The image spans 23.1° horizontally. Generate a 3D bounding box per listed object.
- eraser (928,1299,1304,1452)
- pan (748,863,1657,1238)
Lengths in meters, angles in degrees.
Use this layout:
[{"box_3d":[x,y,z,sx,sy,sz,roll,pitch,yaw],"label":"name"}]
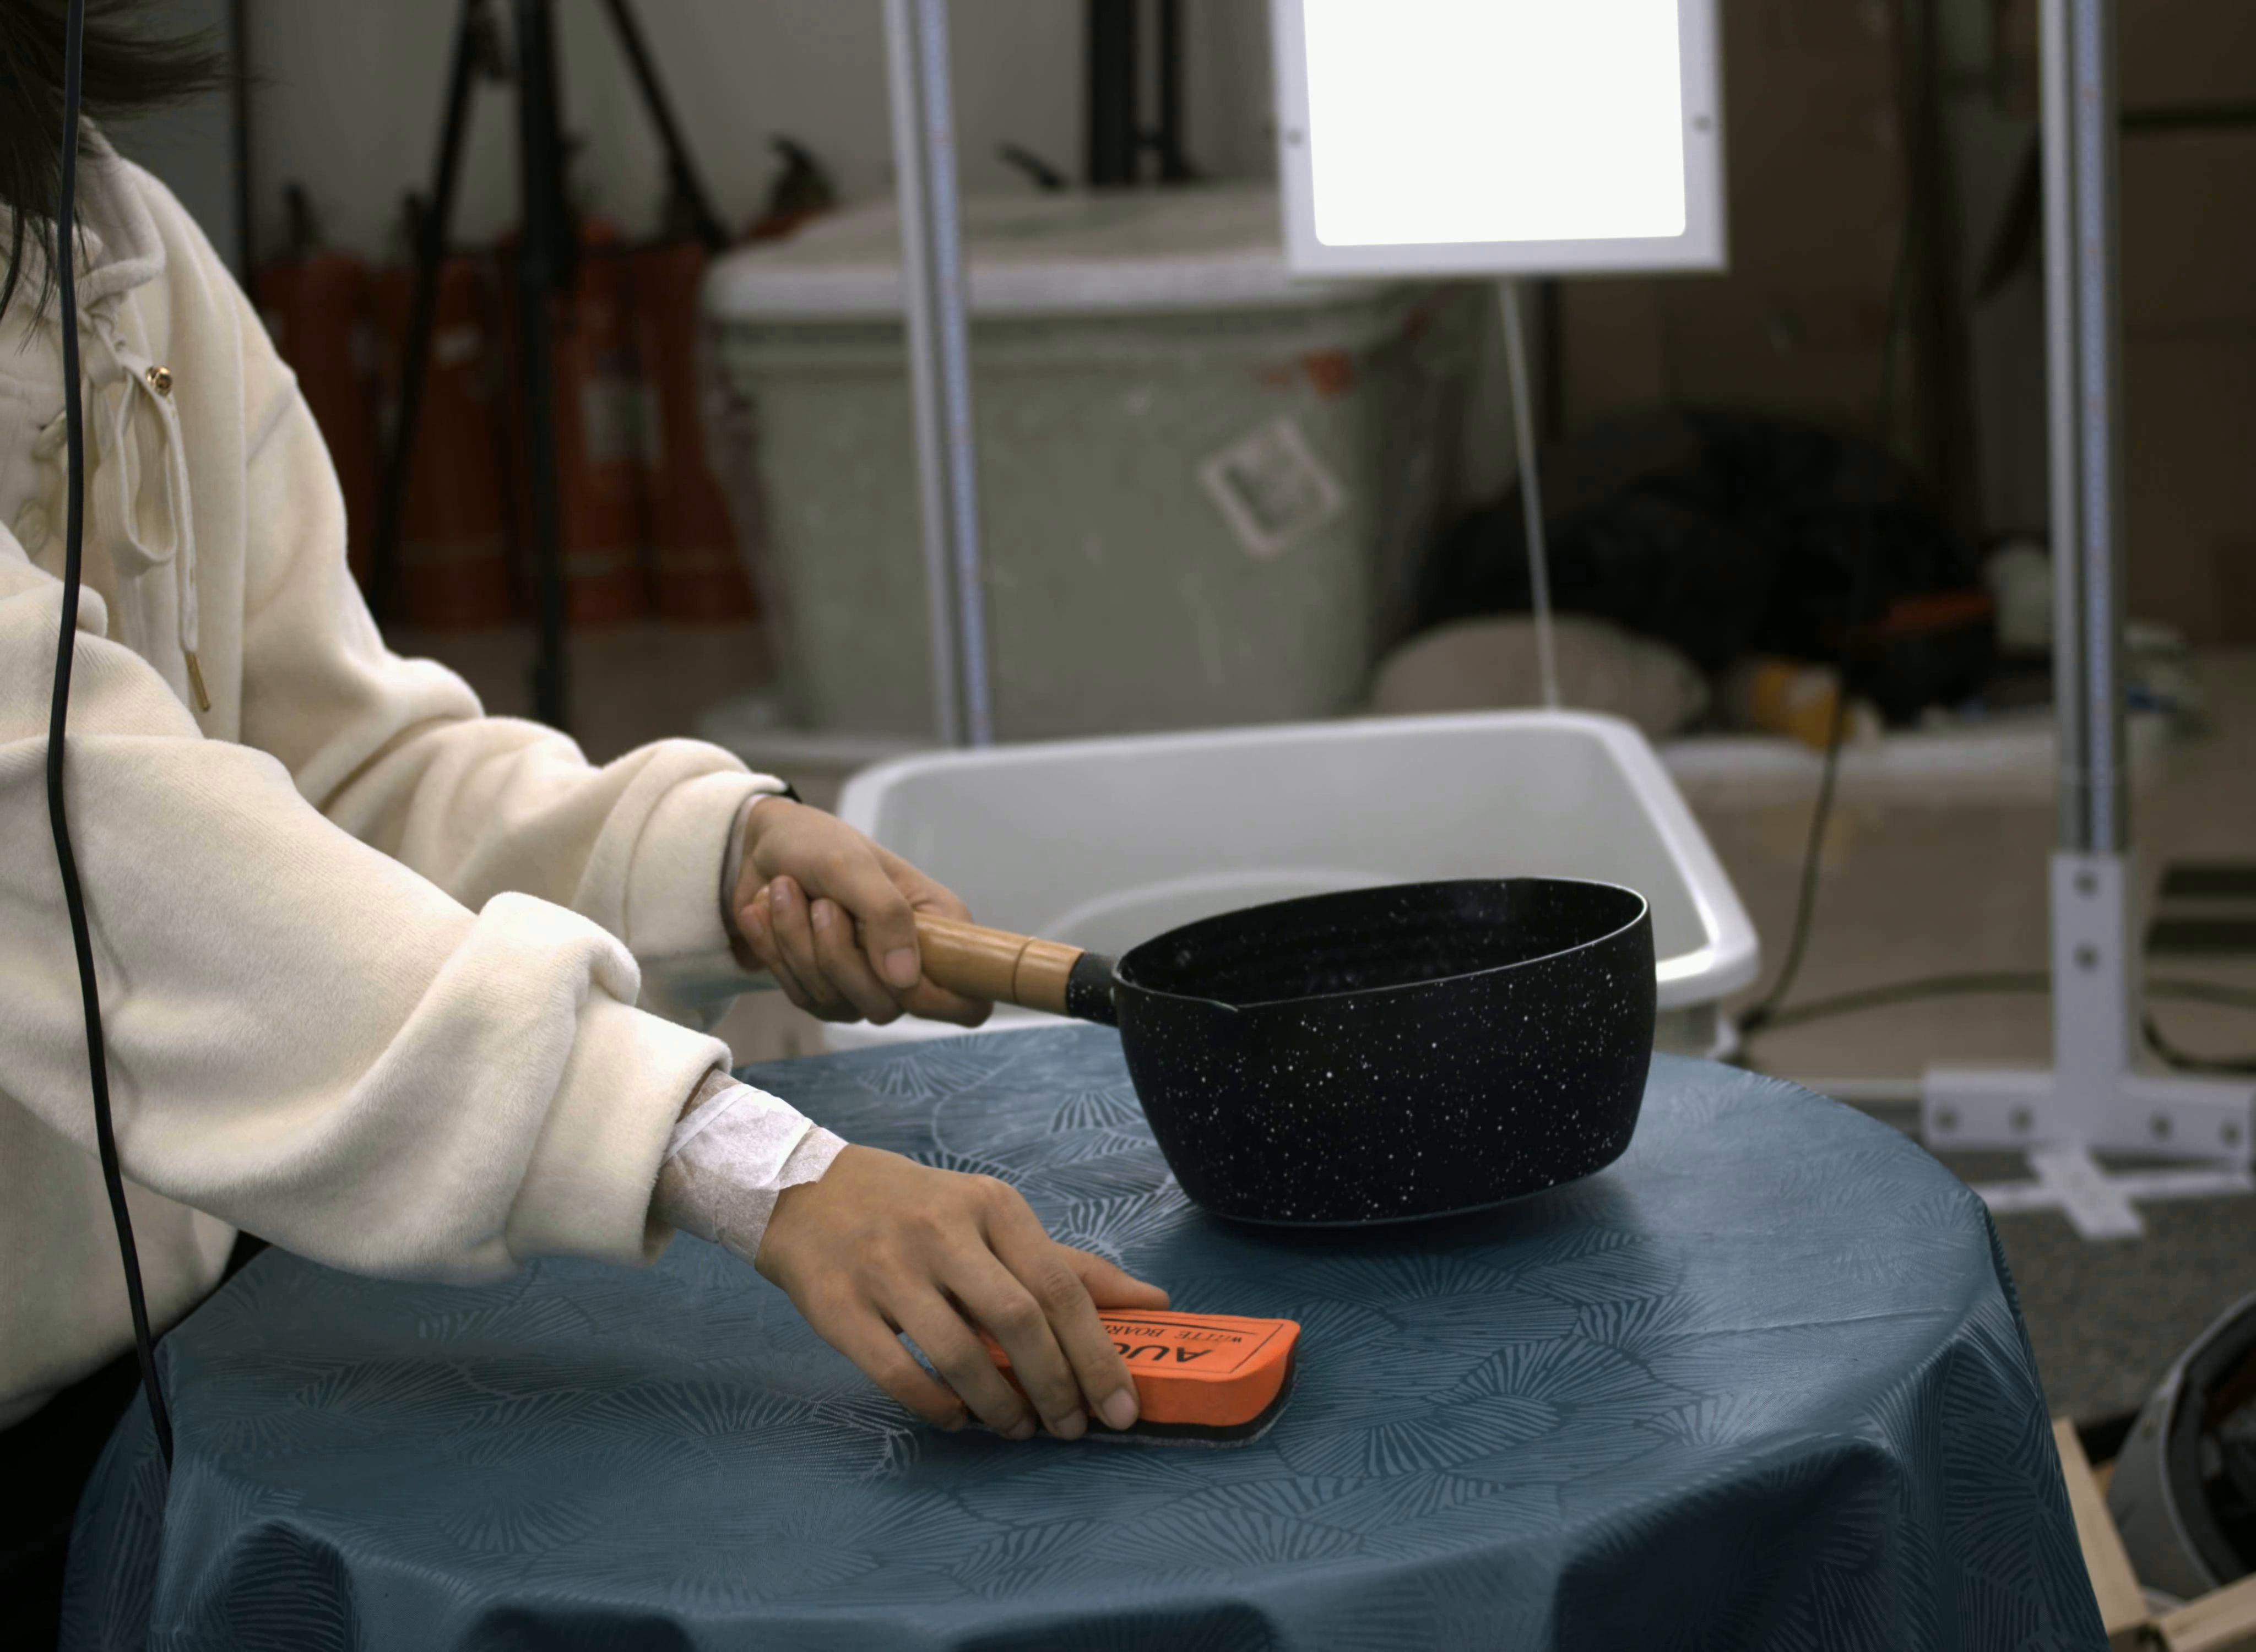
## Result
[{"box_3d":[-0.003,0.167,1.684,0.110,0.023,0.058,2,17,27],"label":"eraser"},{"box_3d":[0.019,0.068,1.899,0.349,0.108,0.203,-1,13,30],"label":"pan"}]
